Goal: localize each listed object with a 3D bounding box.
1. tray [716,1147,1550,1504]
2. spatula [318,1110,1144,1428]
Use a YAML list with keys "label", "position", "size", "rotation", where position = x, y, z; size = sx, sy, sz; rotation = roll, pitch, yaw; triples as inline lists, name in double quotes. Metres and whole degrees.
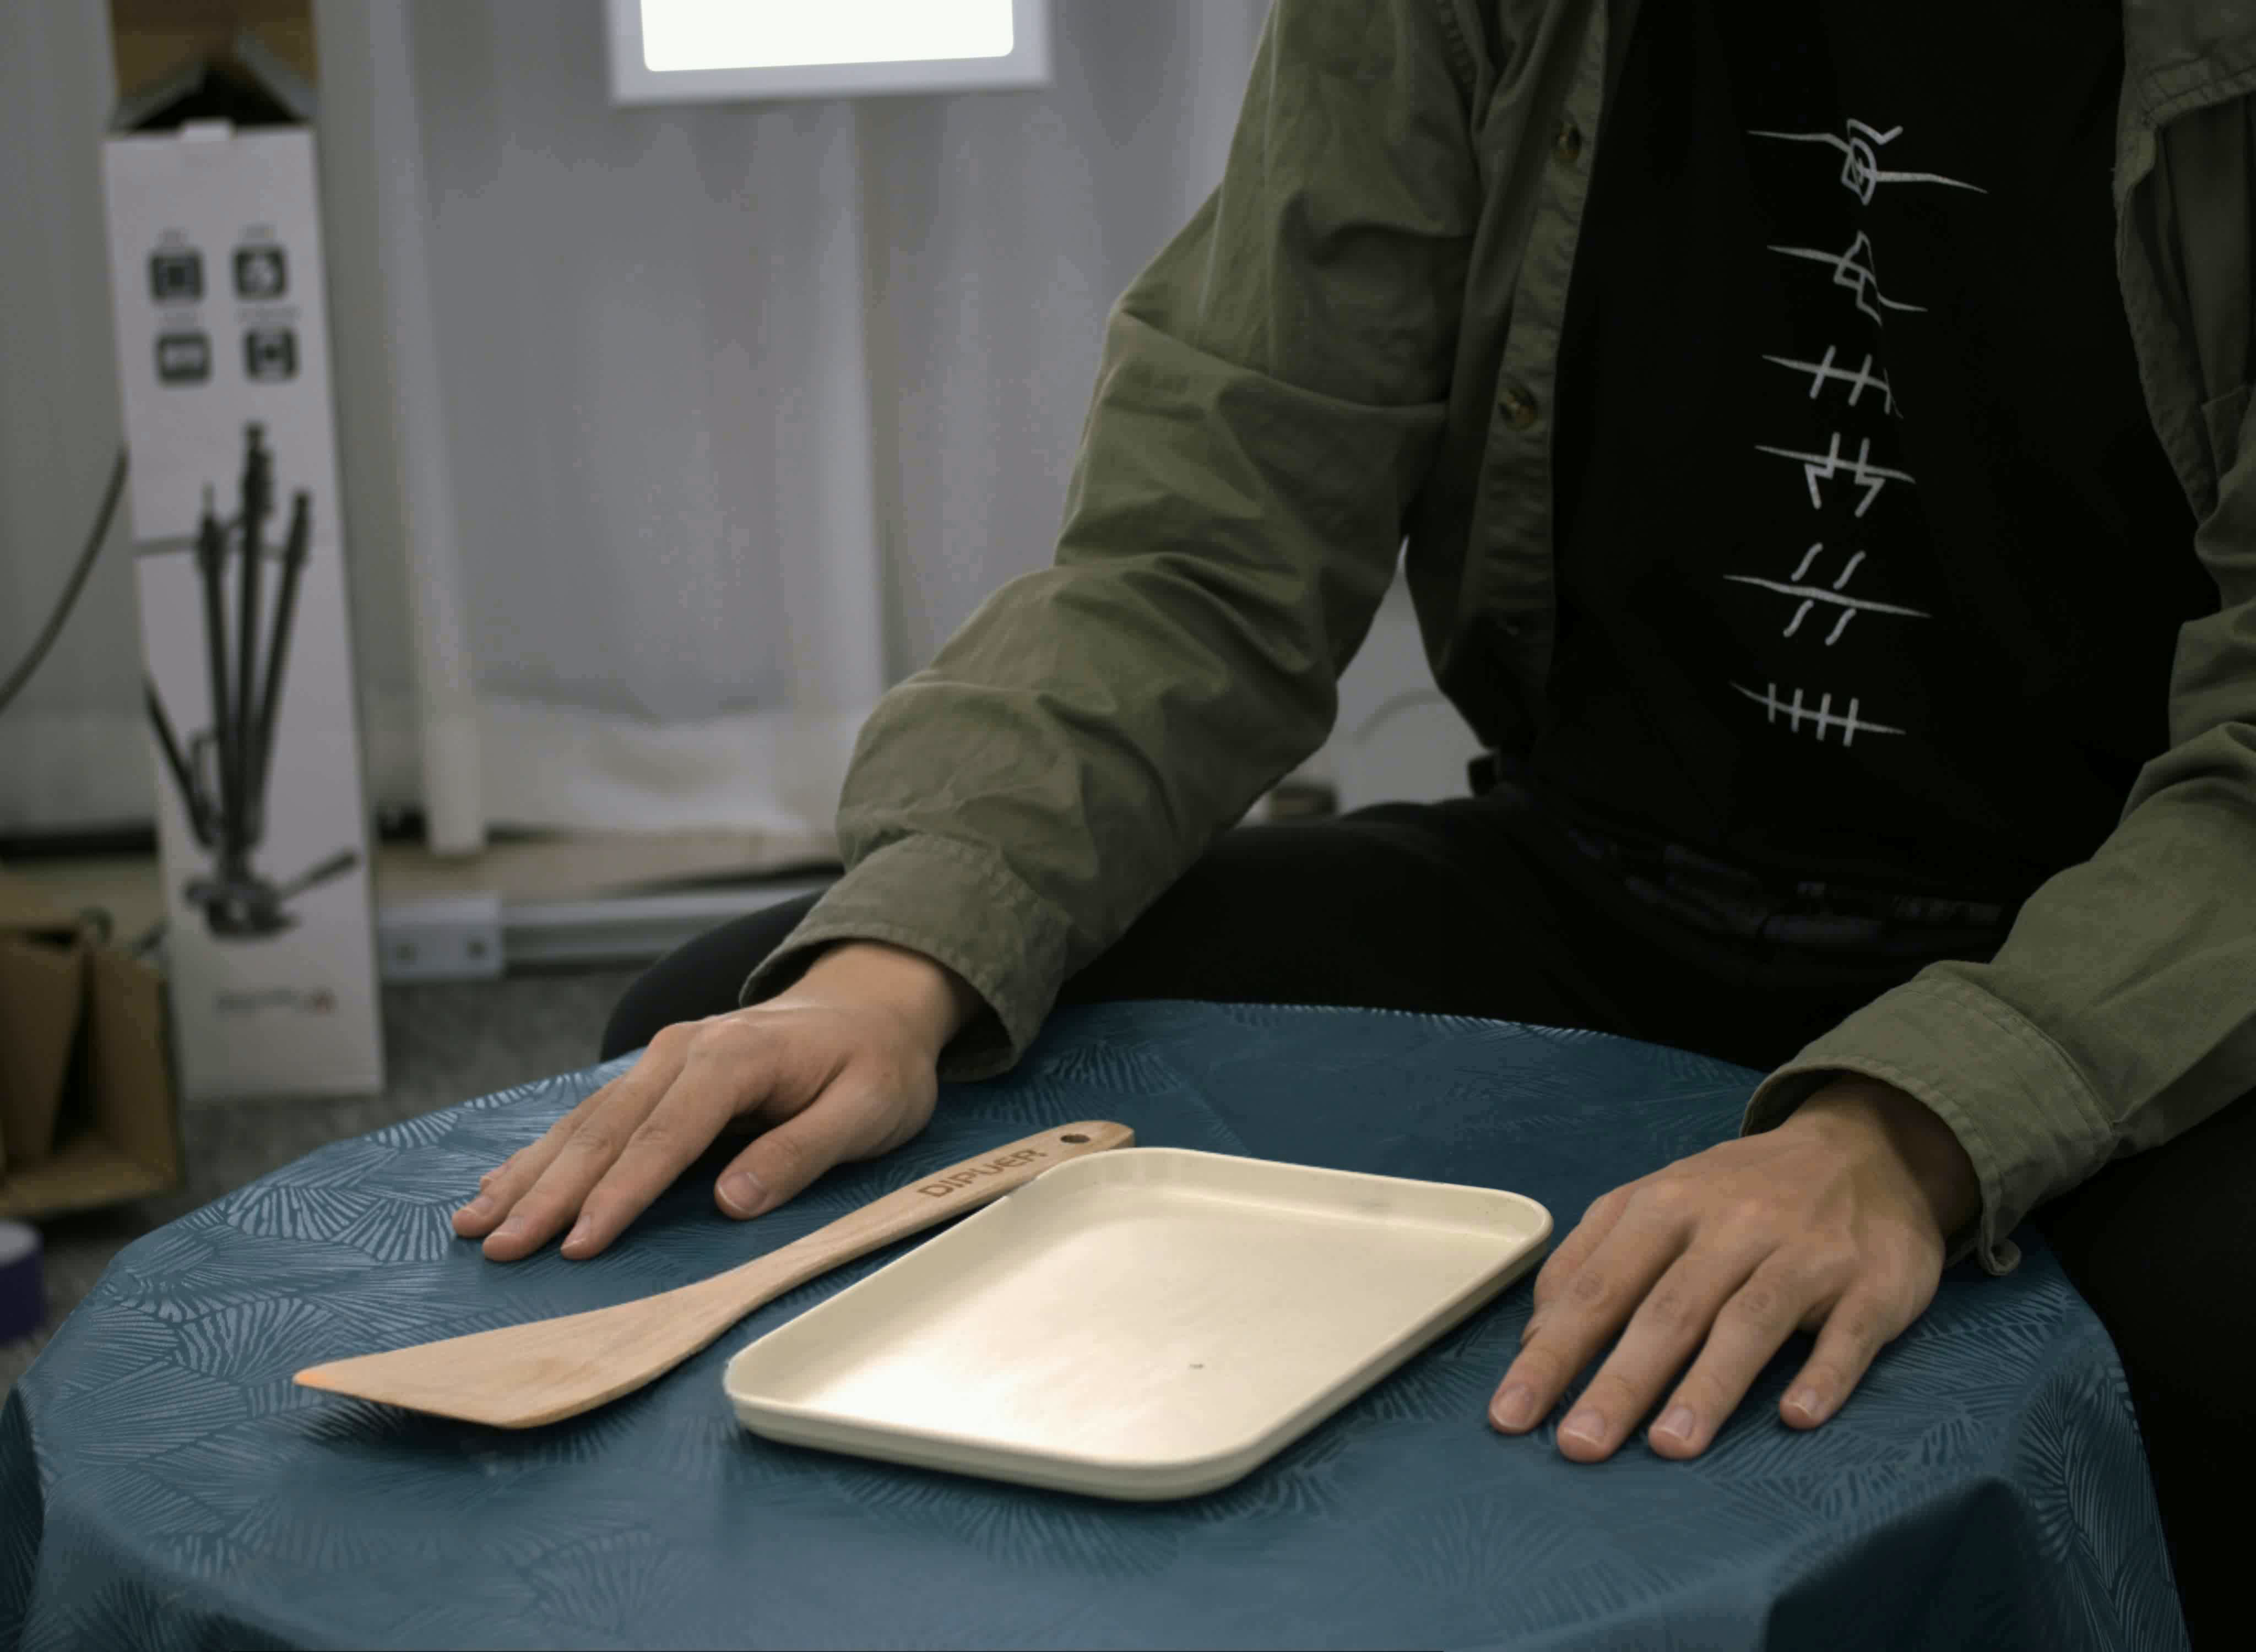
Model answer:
- label: "tray"
  position: [0.005, 0.143, 1.578]
  size: [0.172, 0.017, 0.240]
  rotation: [6, 17, 30]
- label: "spatula"
  position: [-0.101, 0.130, 1.649]
  size: [0.080, 0.016, 0.327]
  rotation: [9, 20, 38]
